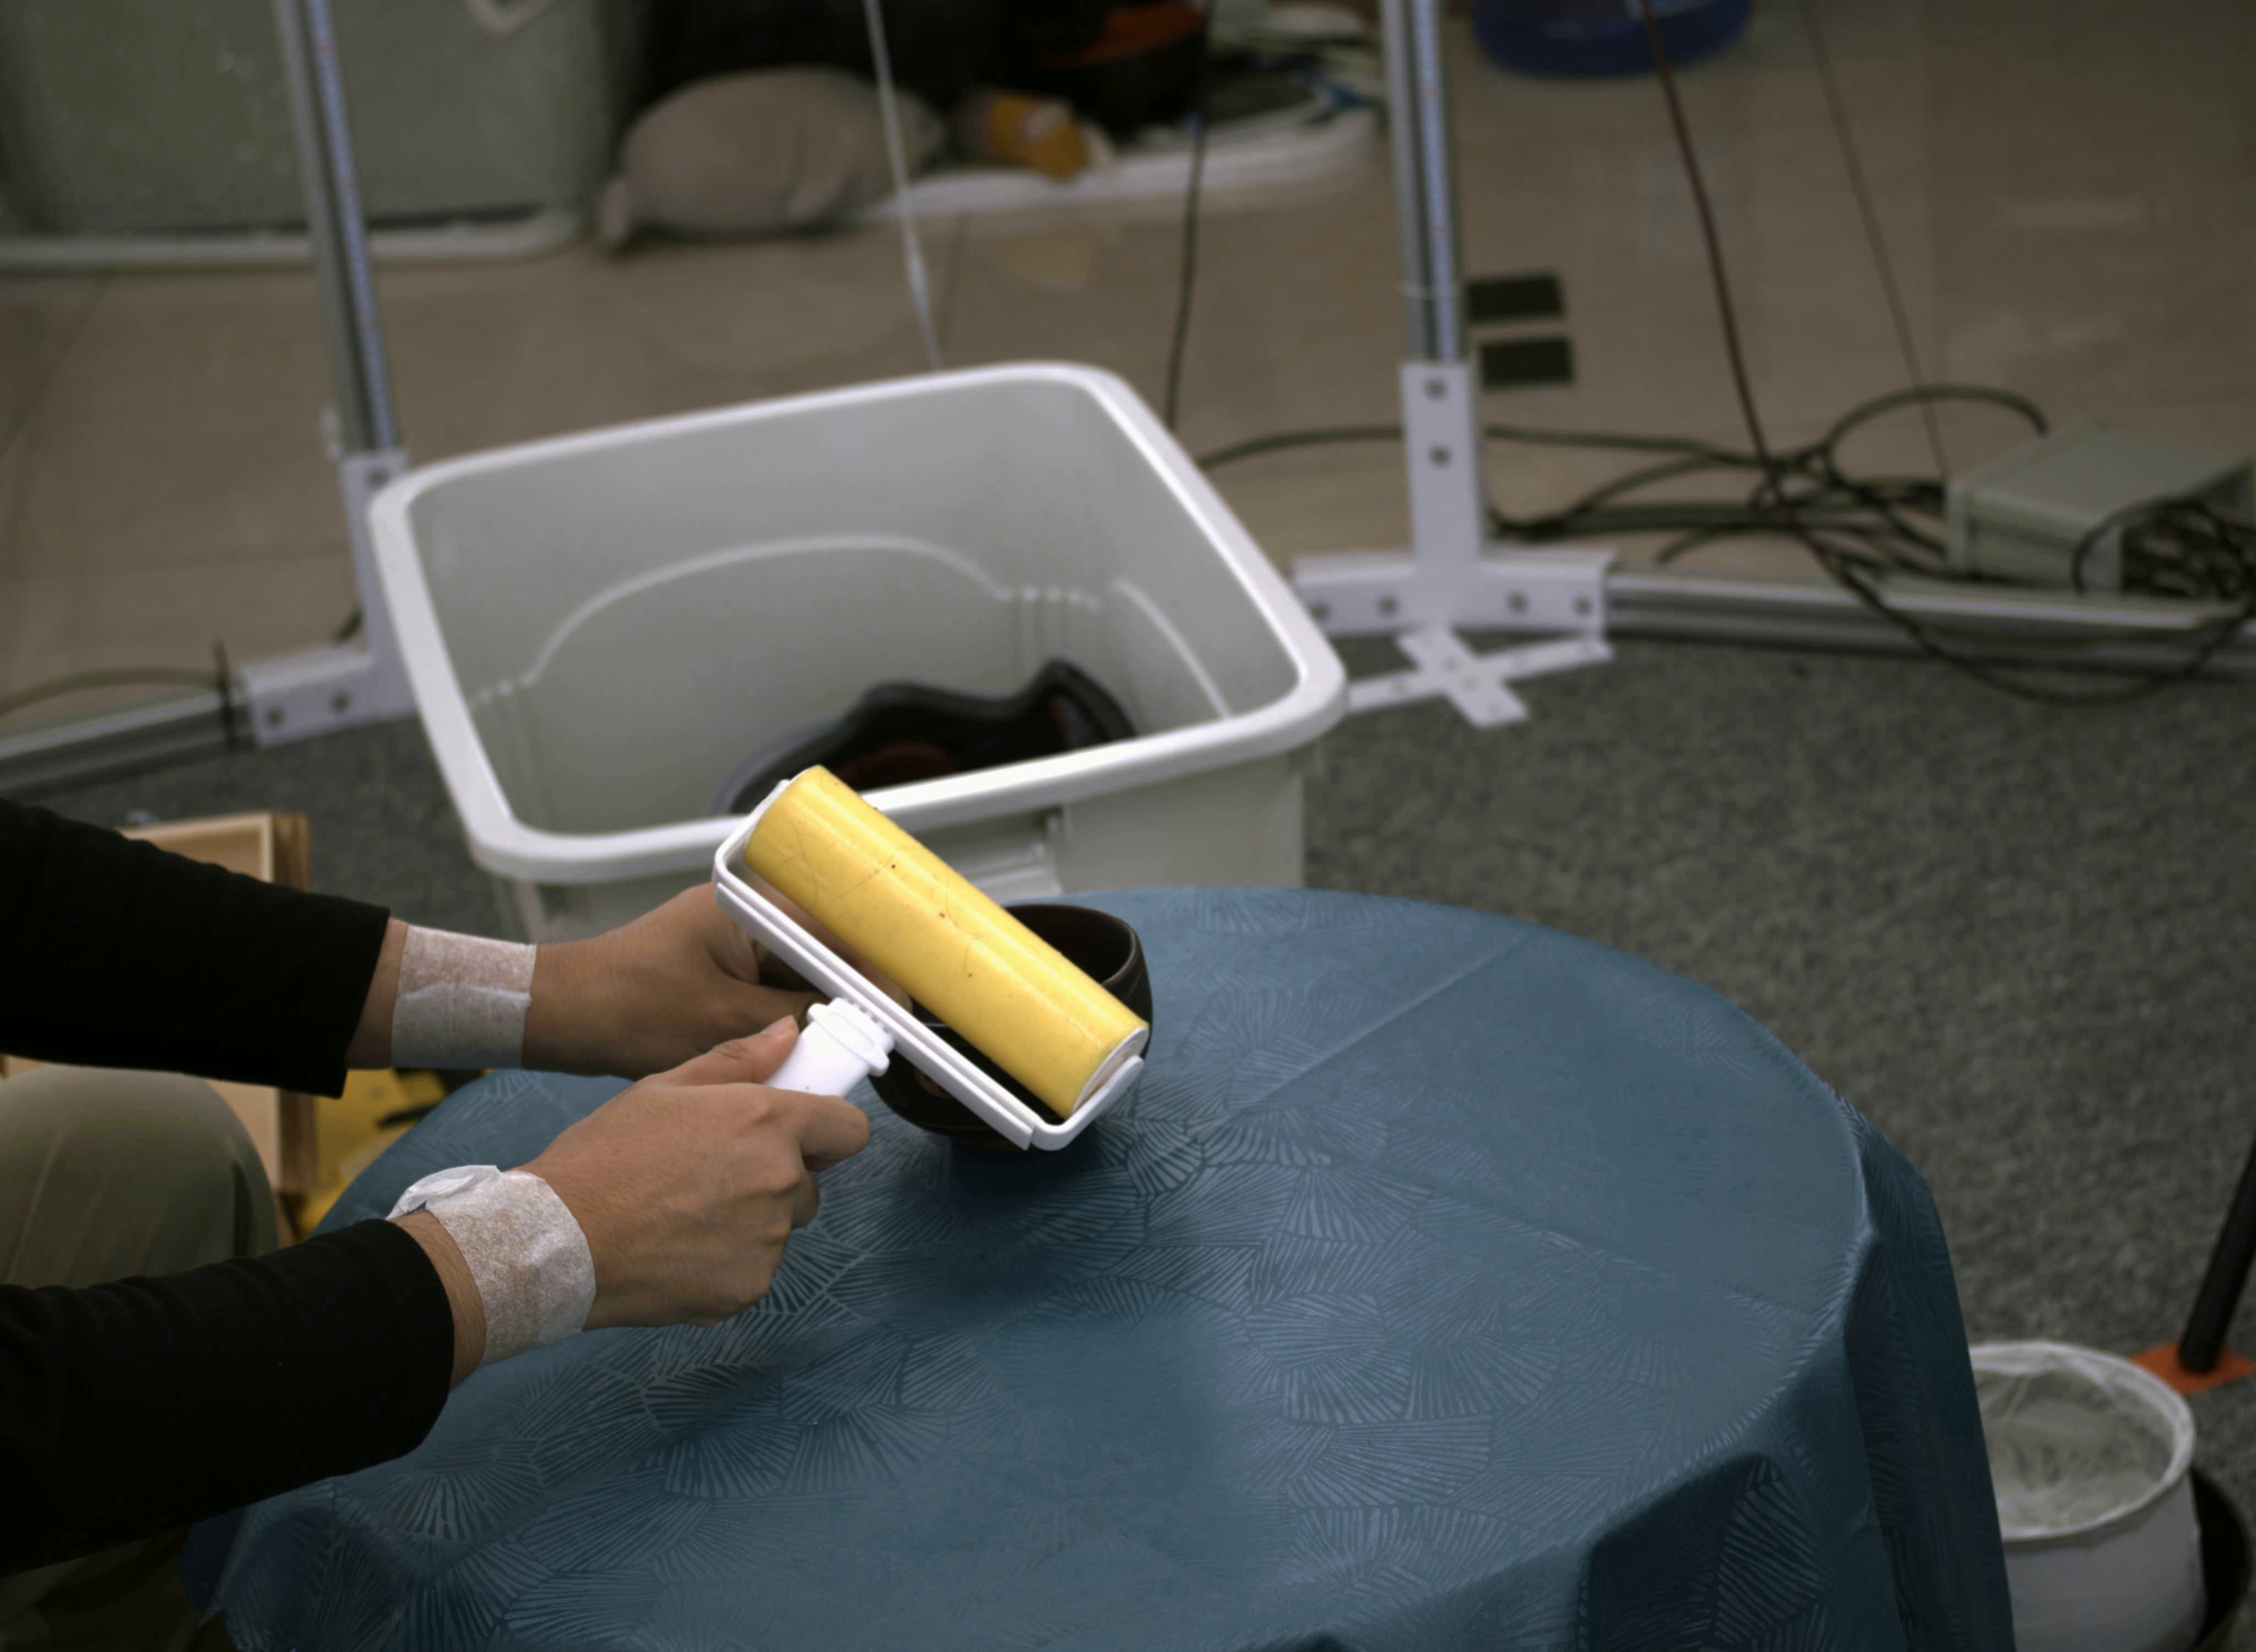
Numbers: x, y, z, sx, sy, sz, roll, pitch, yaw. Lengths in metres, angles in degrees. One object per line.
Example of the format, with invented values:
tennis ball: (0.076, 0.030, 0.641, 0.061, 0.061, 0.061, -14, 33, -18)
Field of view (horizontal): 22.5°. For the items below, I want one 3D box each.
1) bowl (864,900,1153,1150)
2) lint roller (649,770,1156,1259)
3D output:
bowl: (-0.047, 0.082, 2.189, 0.118, 0.071, 0.116, -8, 22, 3)
lint roller: (-0.107, 0.085, 2.064, 0.173, 0.052, 0.189, 37, 51, 11)
